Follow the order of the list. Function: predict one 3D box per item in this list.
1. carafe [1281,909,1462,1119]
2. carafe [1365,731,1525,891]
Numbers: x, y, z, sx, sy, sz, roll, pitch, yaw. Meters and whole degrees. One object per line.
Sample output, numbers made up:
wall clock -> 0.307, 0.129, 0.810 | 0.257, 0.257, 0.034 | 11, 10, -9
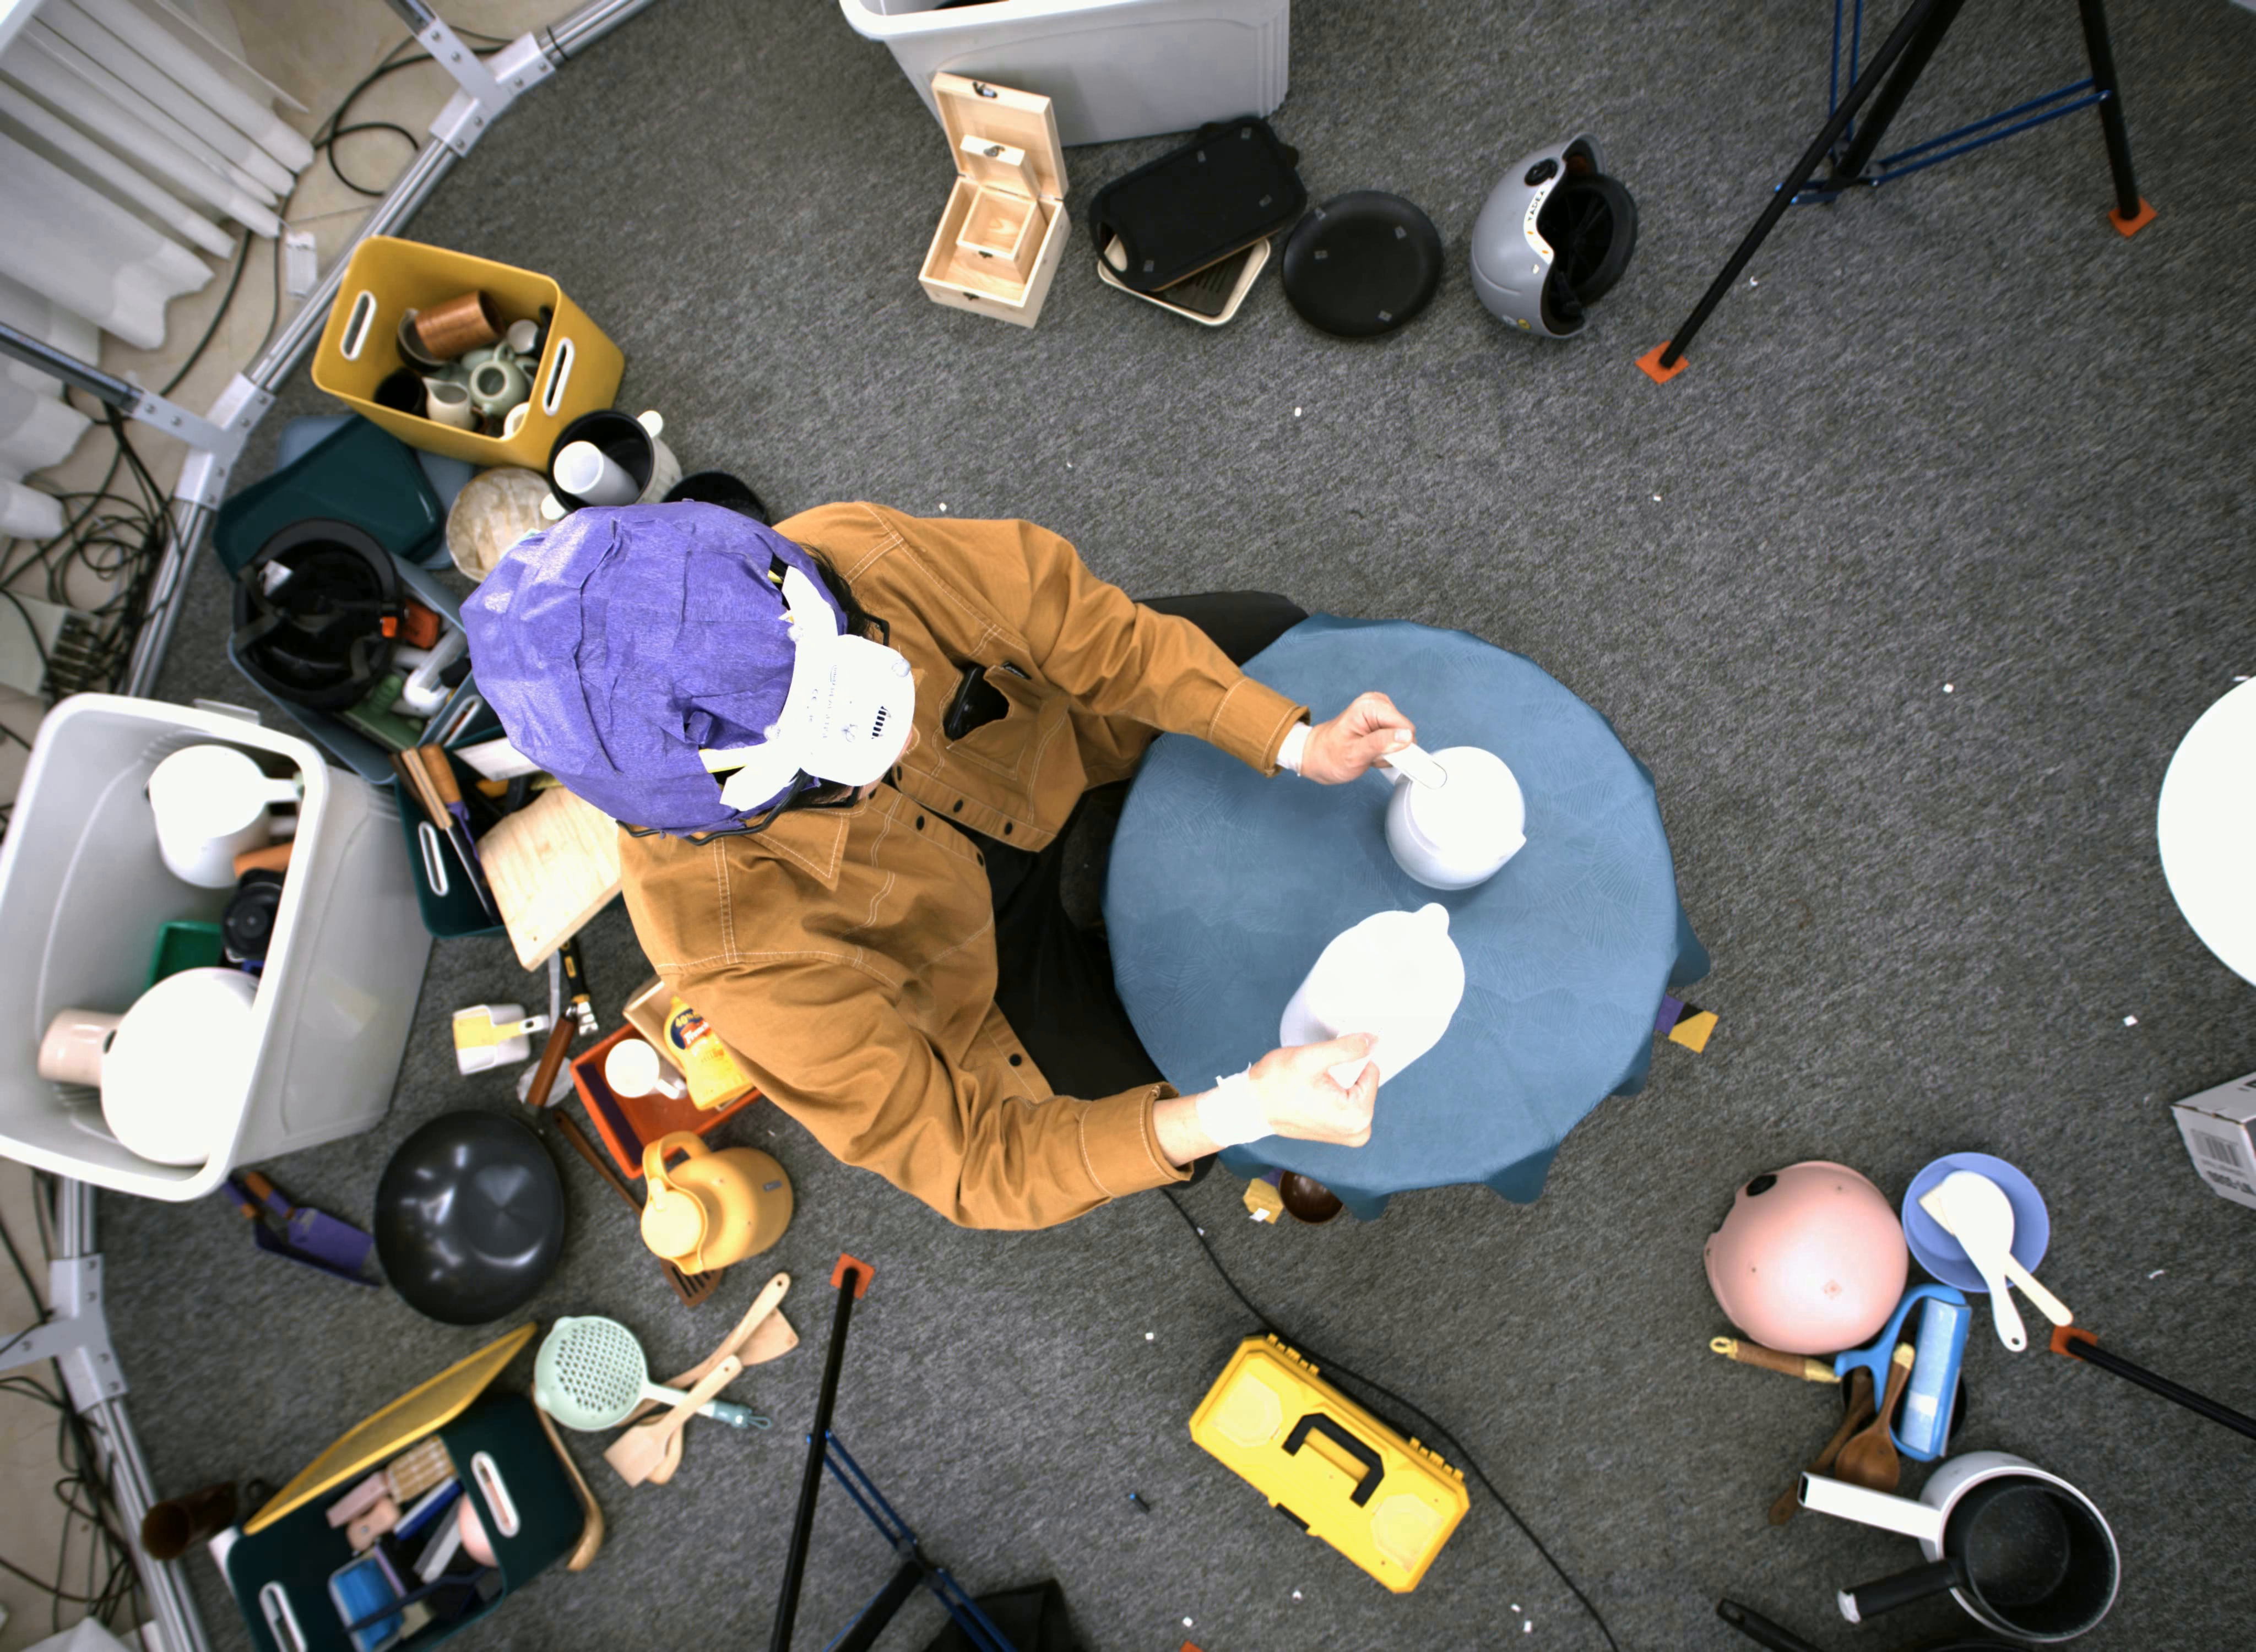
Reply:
carafe -> 0.198, 0.174, 1.195 | 0.123, 0.273, 0.170 | 33, 74, 7
carafe -> 0.293, -0.024, 1.294 | 0.167, 0.249, 0.133 | 40, 93, 12
